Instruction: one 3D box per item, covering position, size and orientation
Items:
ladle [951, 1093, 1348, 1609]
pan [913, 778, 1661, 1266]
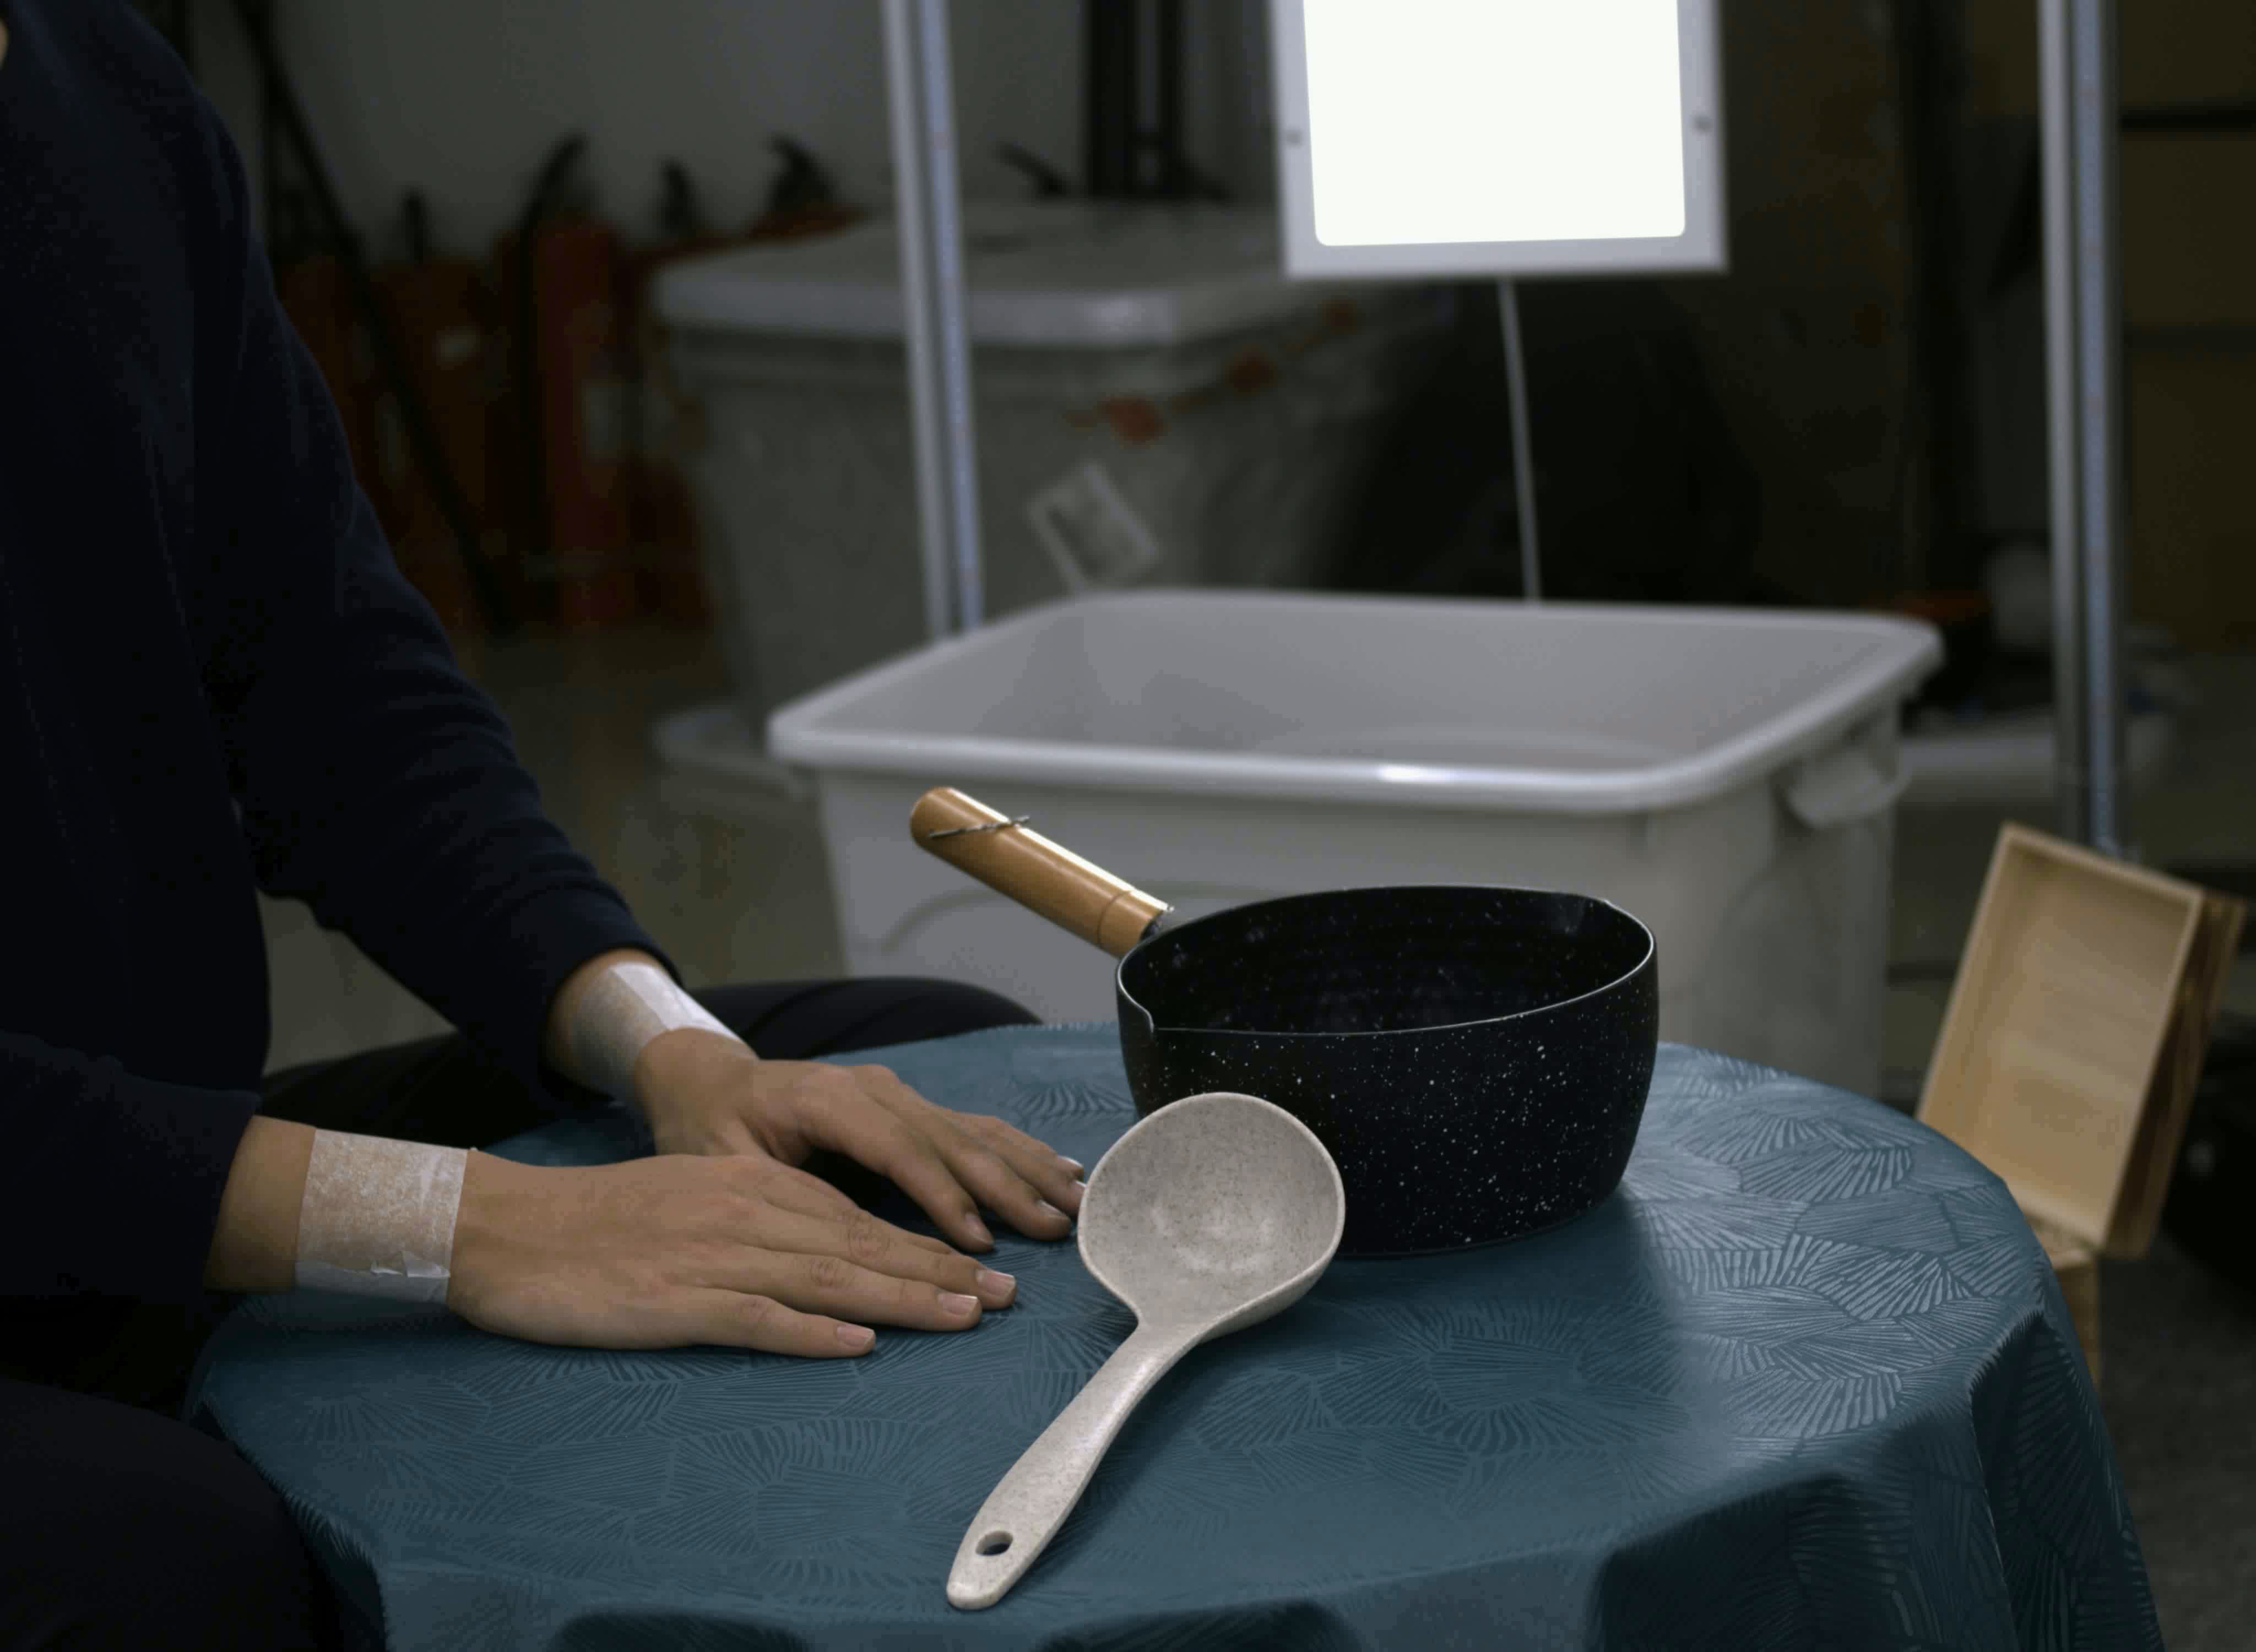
[{"bbox_3d":[-0.004,0.151,1.652,0.090,0.070,0.270,4,16,17],"label":"ladle"},{"bbox_3d":[0.037,0.061,1.921,0.202,0.108,0.350,-17,20,-37],"label":"pan"}]
